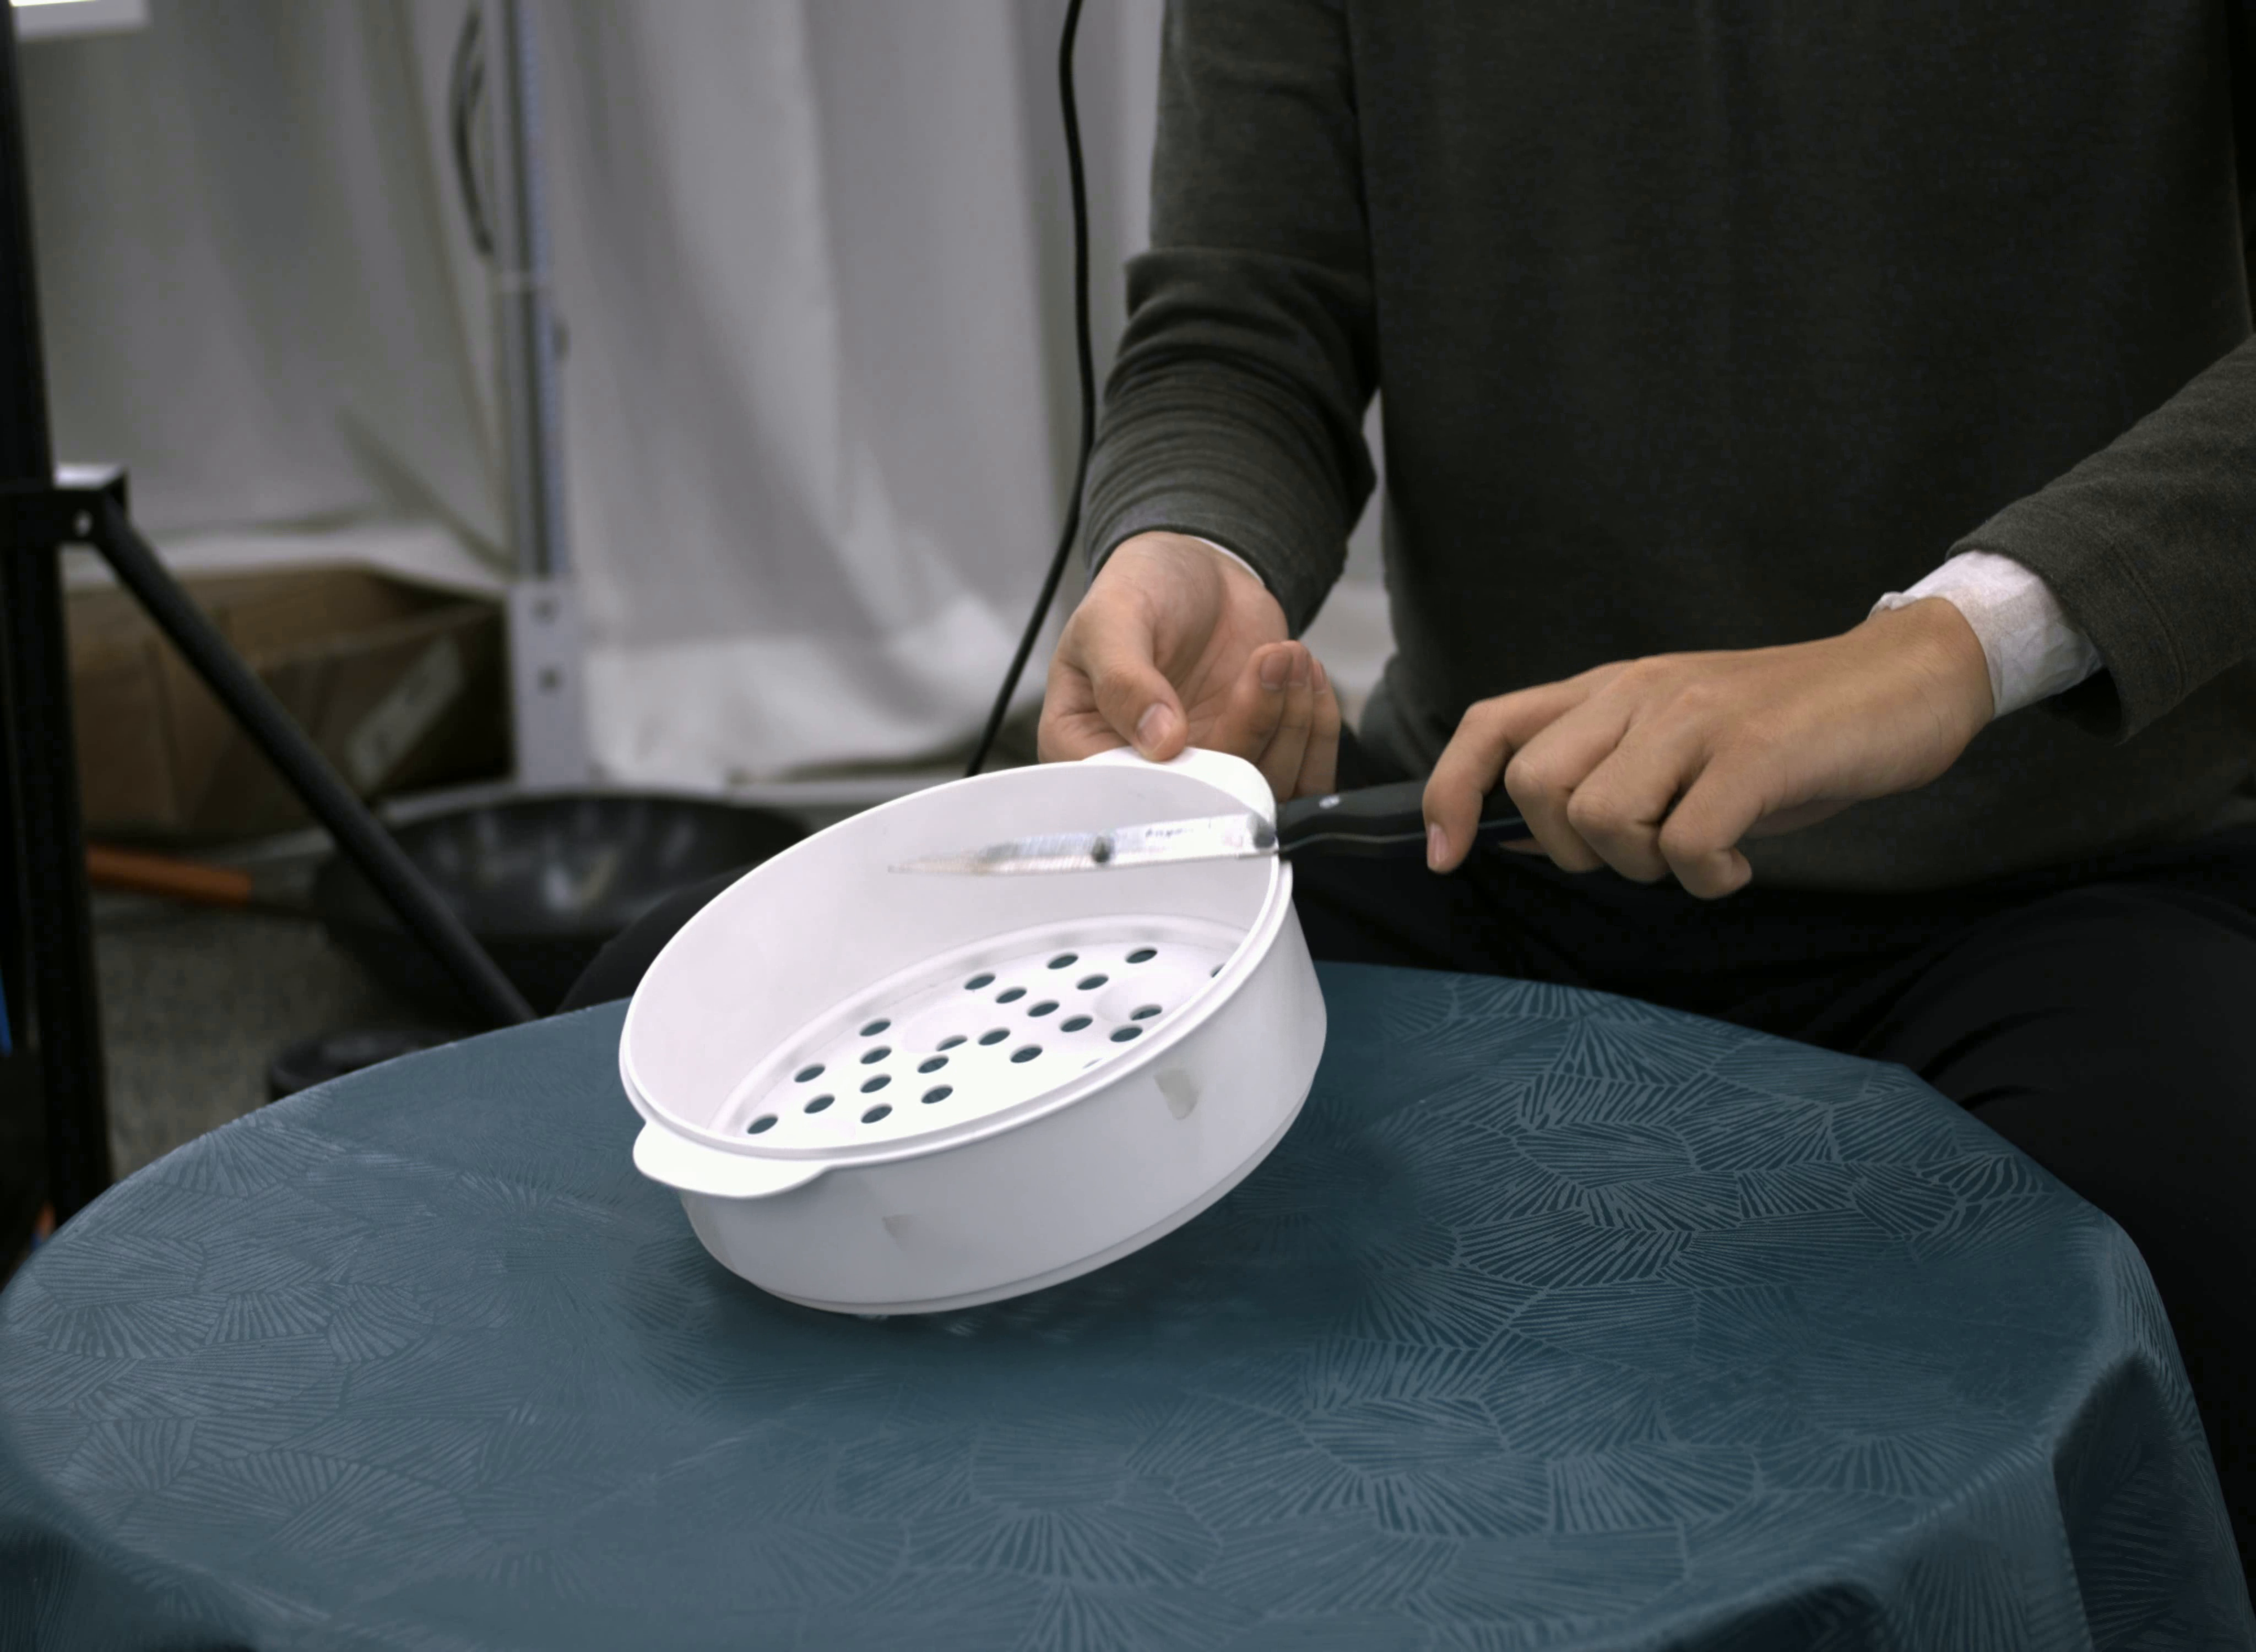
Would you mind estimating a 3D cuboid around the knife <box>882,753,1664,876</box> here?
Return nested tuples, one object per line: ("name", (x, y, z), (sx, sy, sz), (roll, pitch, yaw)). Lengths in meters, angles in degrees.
("knife", (0.039, 0.000, 1.509), (0.241, 0.016, 0.024), (-6, 29, 24))

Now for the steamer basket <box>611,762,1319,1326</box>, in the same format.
("steamer basket", (-0.044, 0.064, 1.520), (0.206, 0.068, 0.227), (10, 38, 43))
